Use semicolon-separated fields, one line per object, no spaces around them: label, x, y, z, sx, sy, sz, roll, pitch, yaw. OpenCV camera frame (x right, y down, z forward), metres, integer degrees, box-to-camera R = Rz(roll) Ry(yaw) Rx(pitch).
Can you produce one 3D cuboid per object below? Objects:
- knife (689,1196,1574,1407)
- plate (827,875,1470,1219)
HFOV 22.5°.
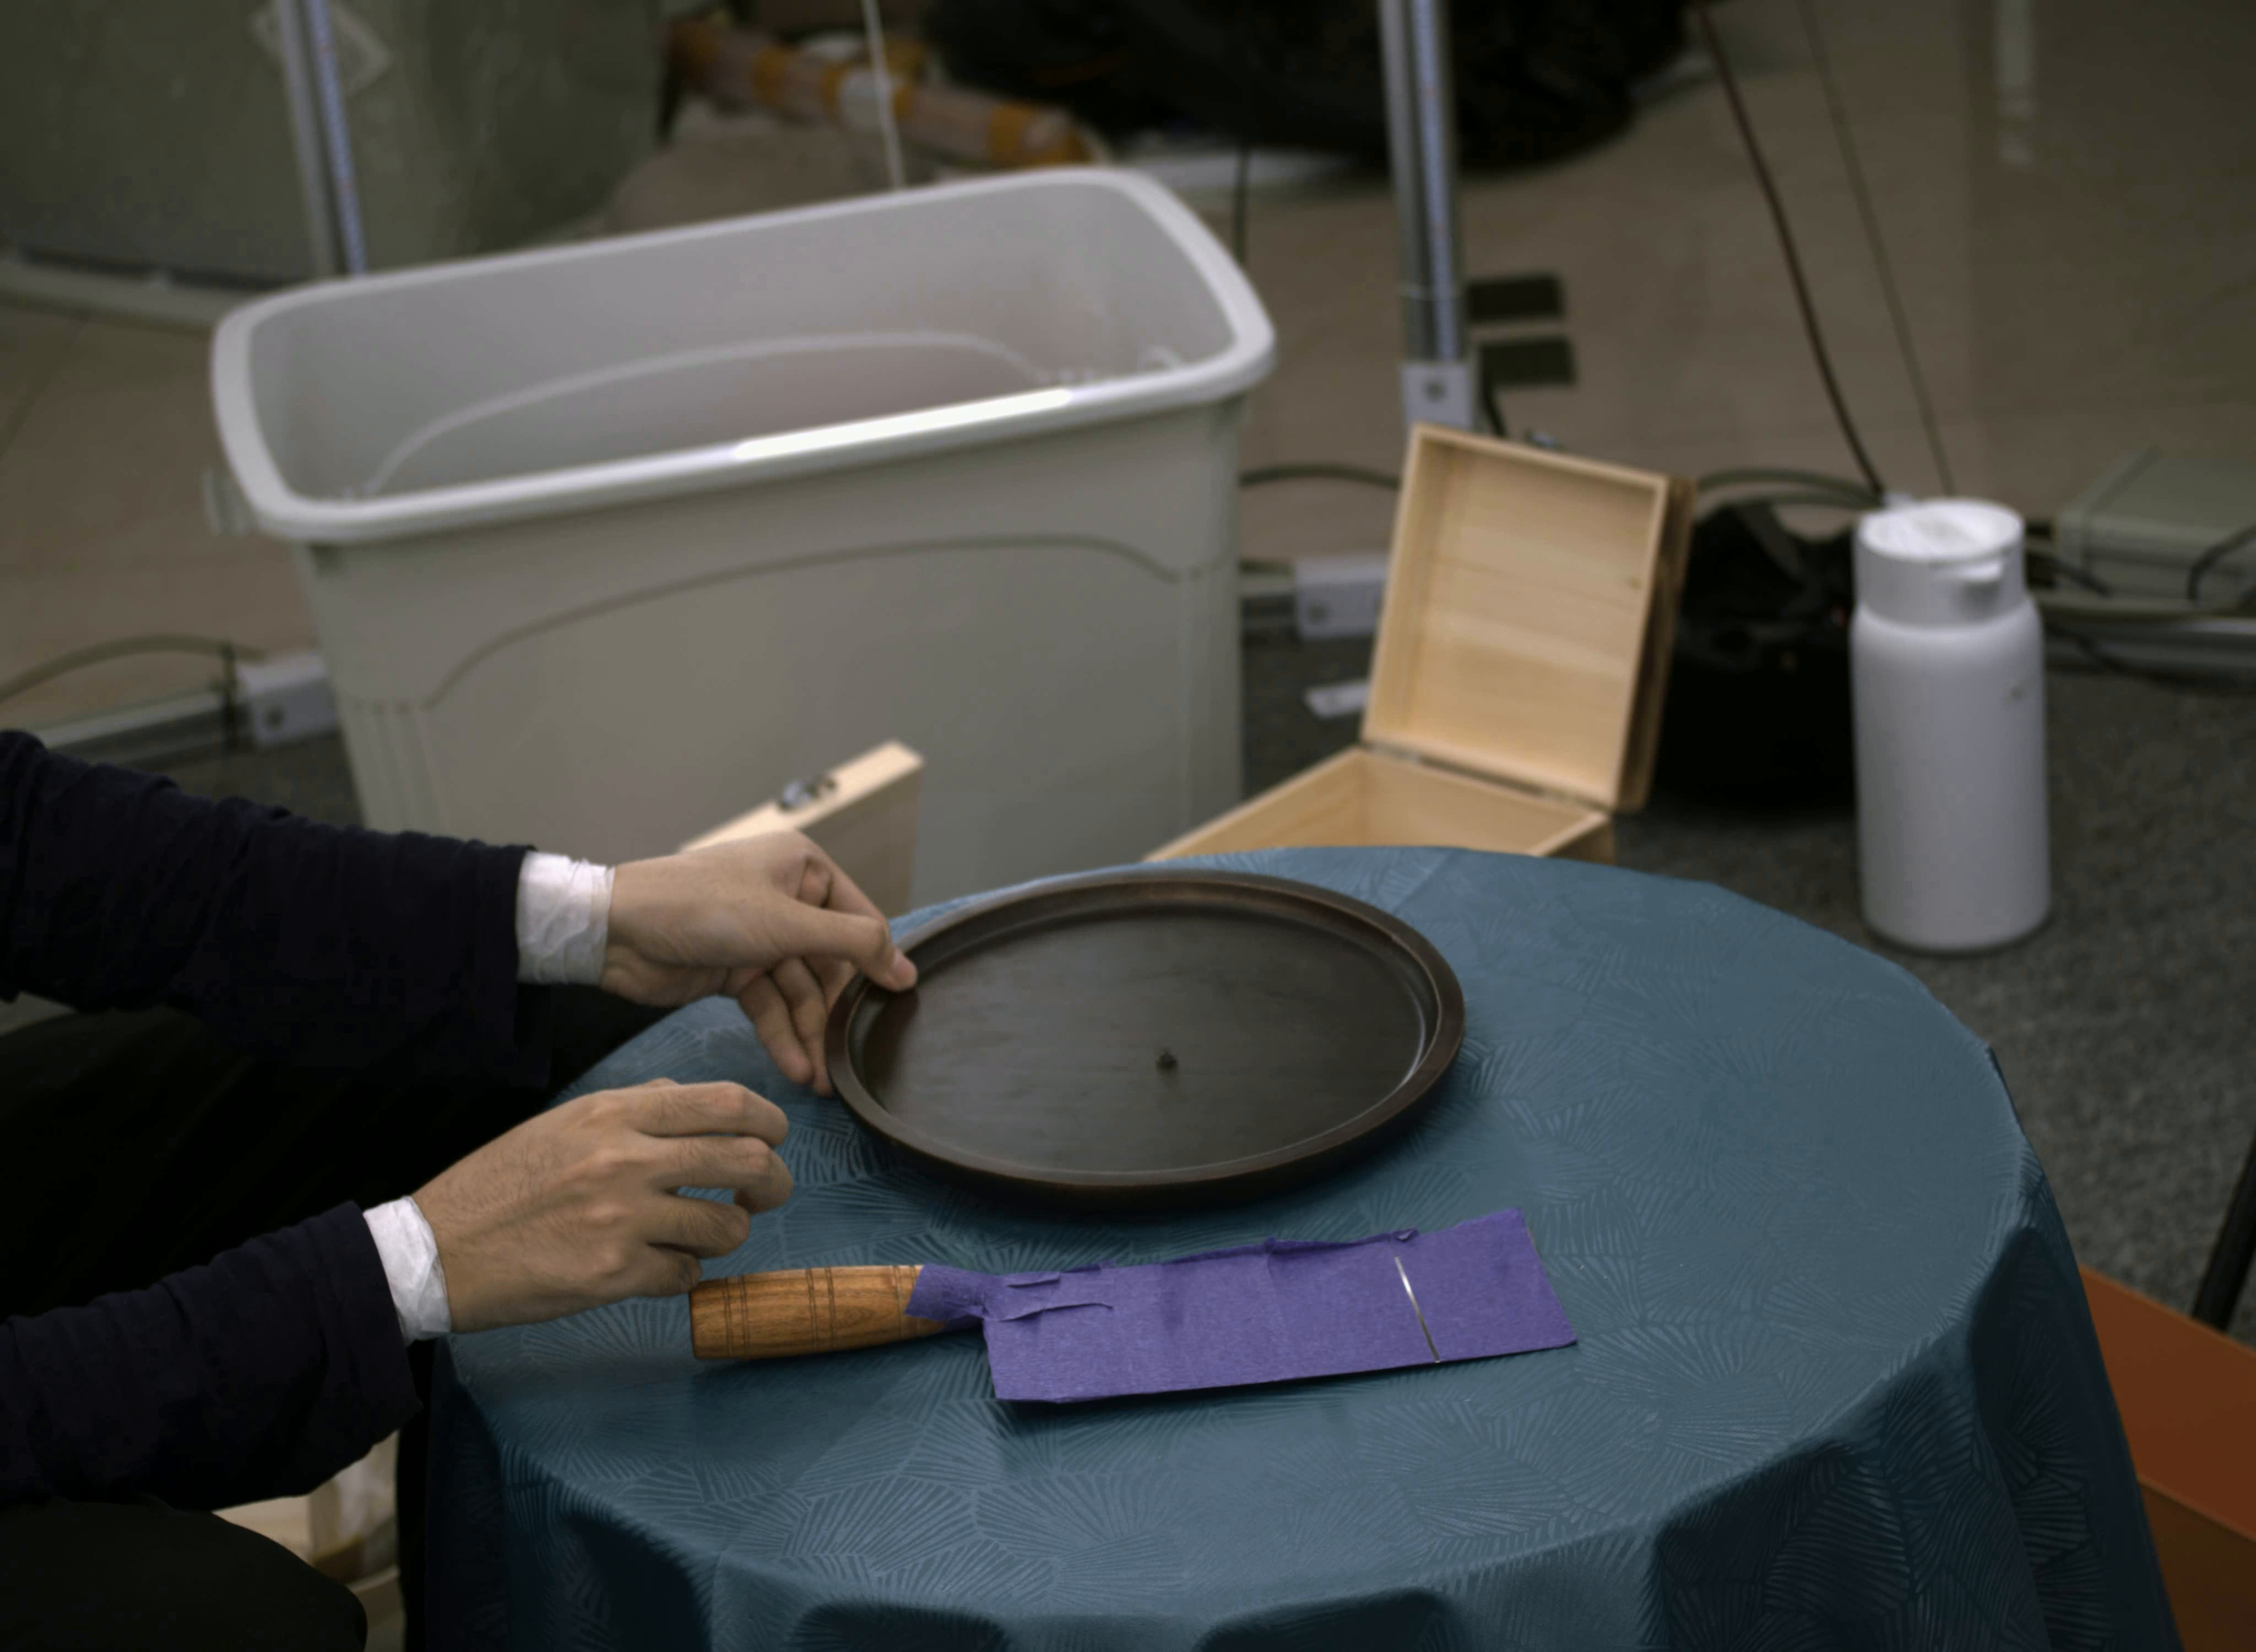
knife;0.000;0.176;2.040;0.314;0.033;0.102;-8;24;-4
plate;0.008;0.085;2.221;0.254;0.029;0.251;-2;27;1
